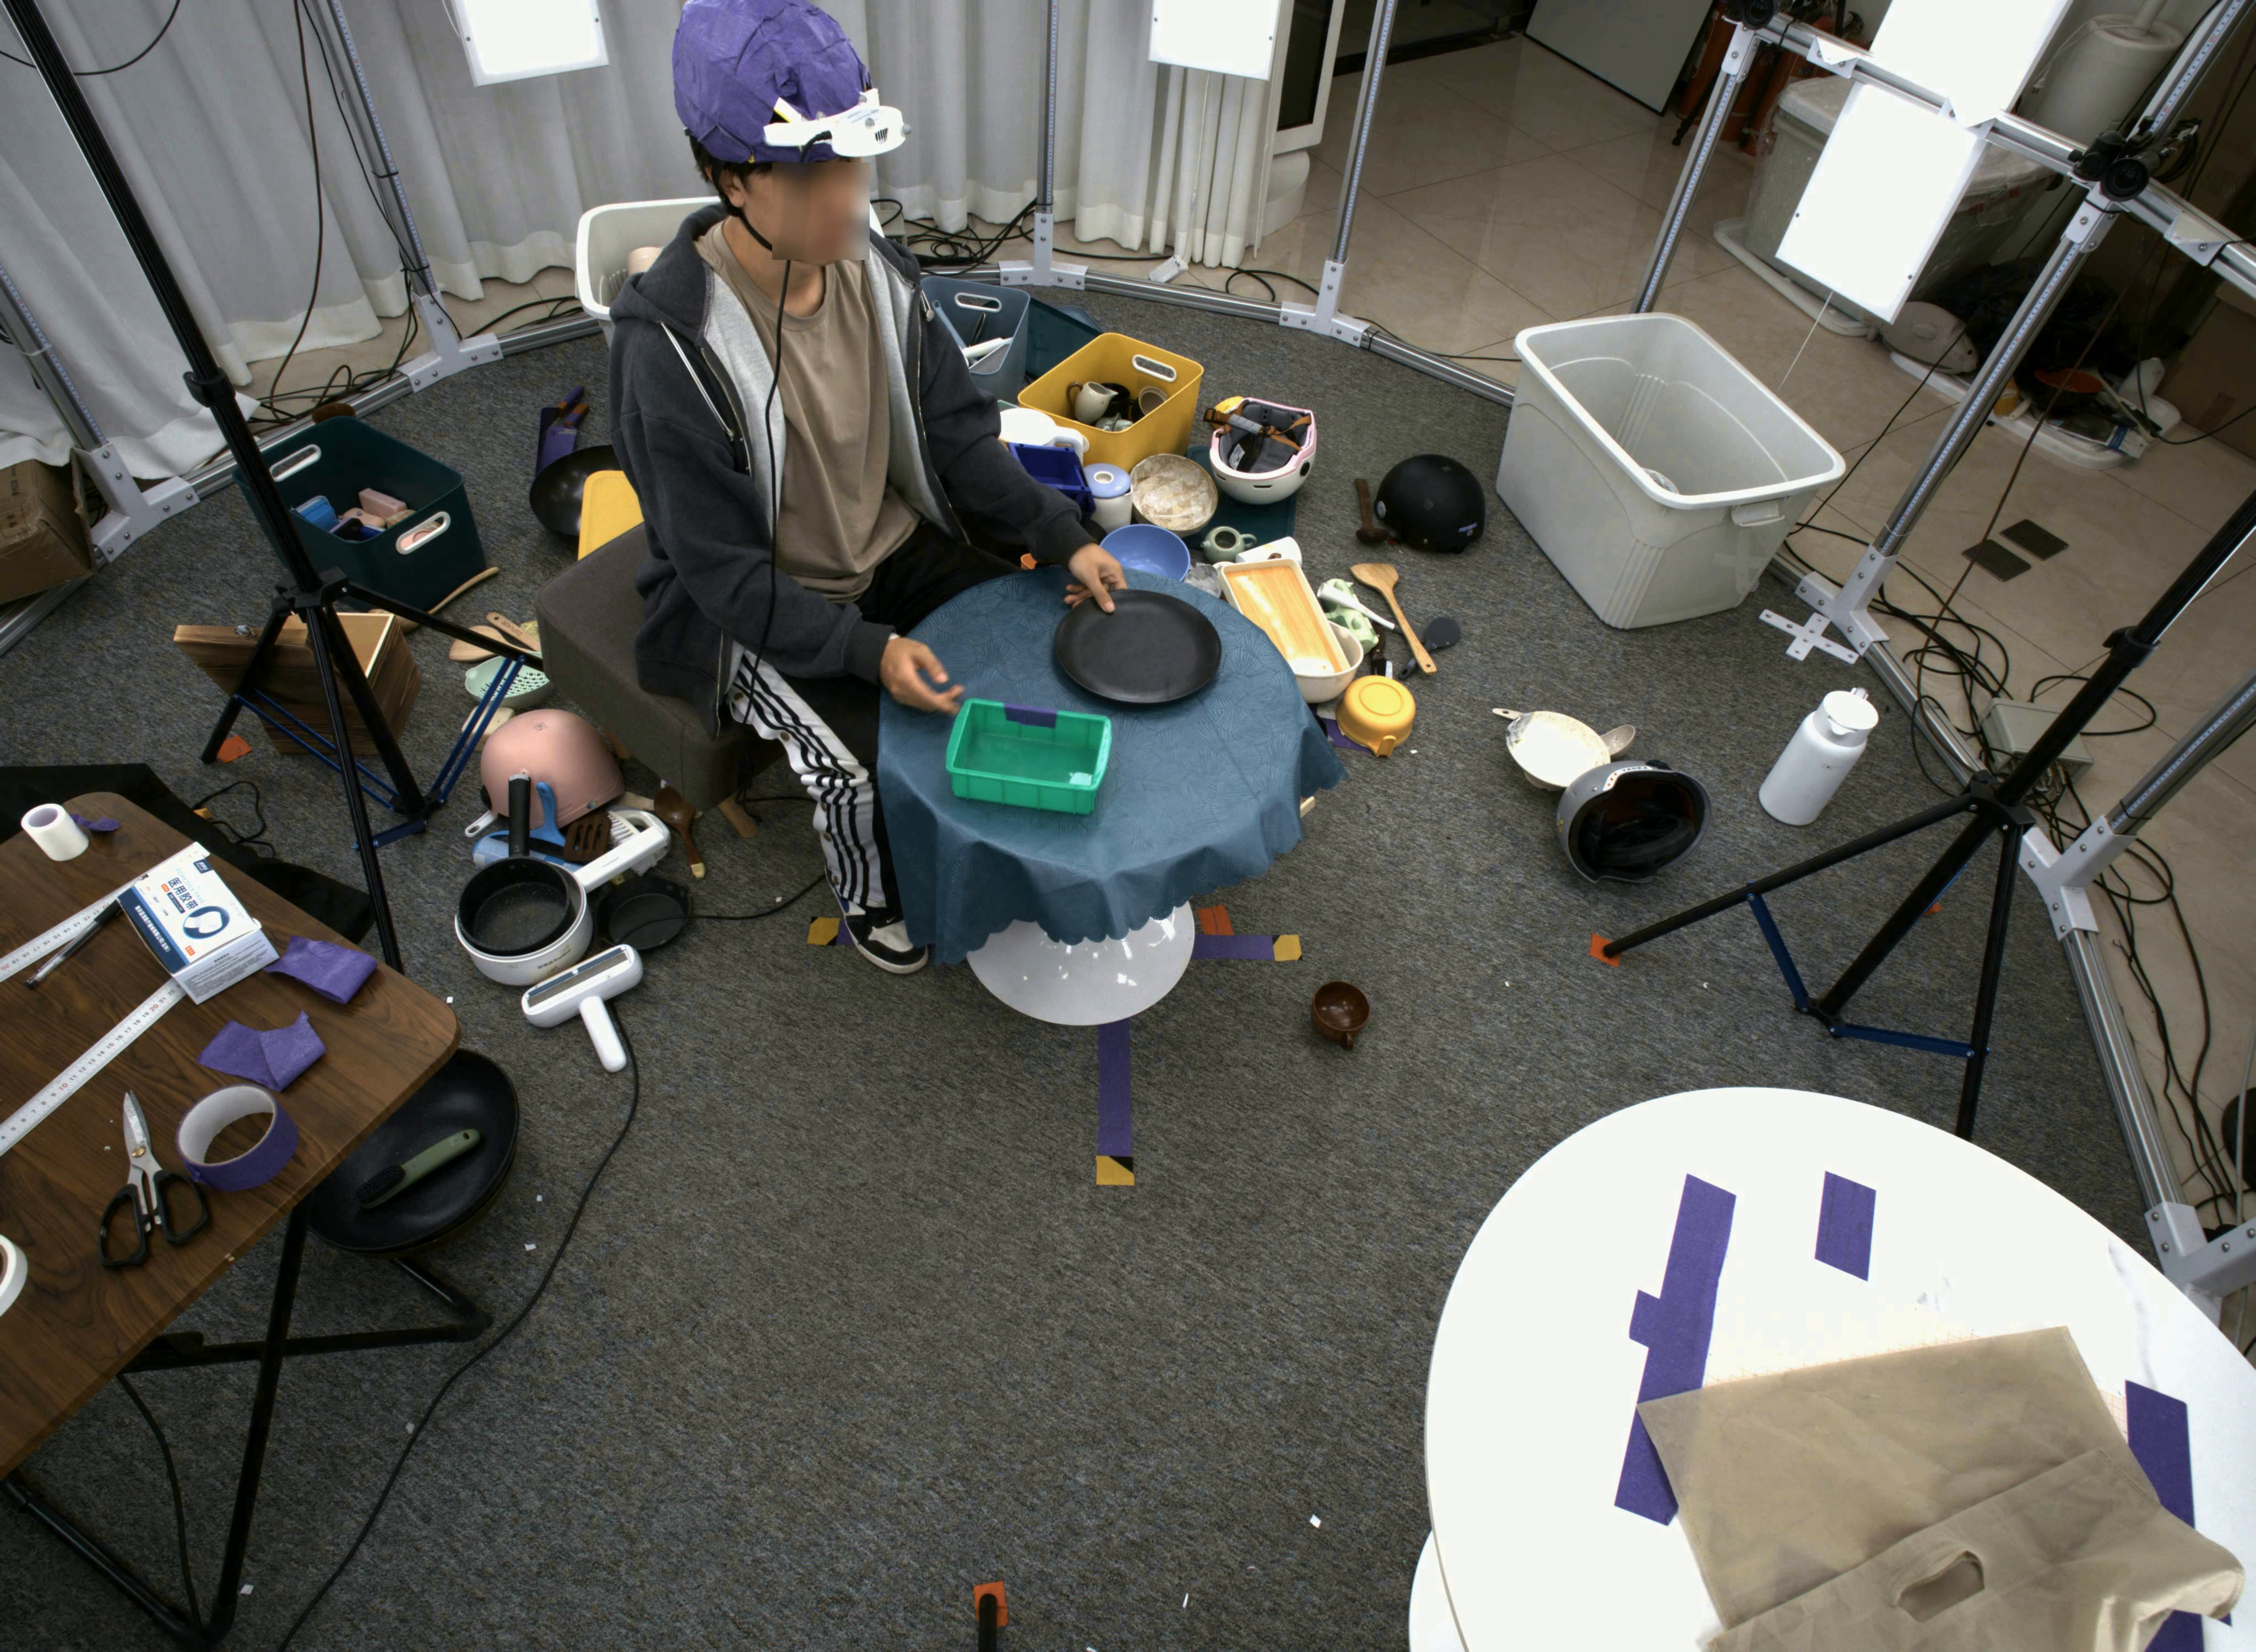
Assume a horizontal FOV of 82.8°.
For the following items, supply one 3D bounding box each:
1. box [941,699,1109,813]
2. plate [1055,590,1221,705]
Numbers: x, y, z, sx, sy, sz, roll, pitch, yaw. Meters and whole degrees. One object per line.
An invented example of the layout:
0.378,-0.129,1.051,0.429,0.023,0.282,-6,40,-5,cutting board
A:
-0.133,-0.090,1.694,0.210,0.064,0.142,6,47,4,box
0.014,-0.259,1.877,0.244,0.023,0.250,2,49,-2,plate
